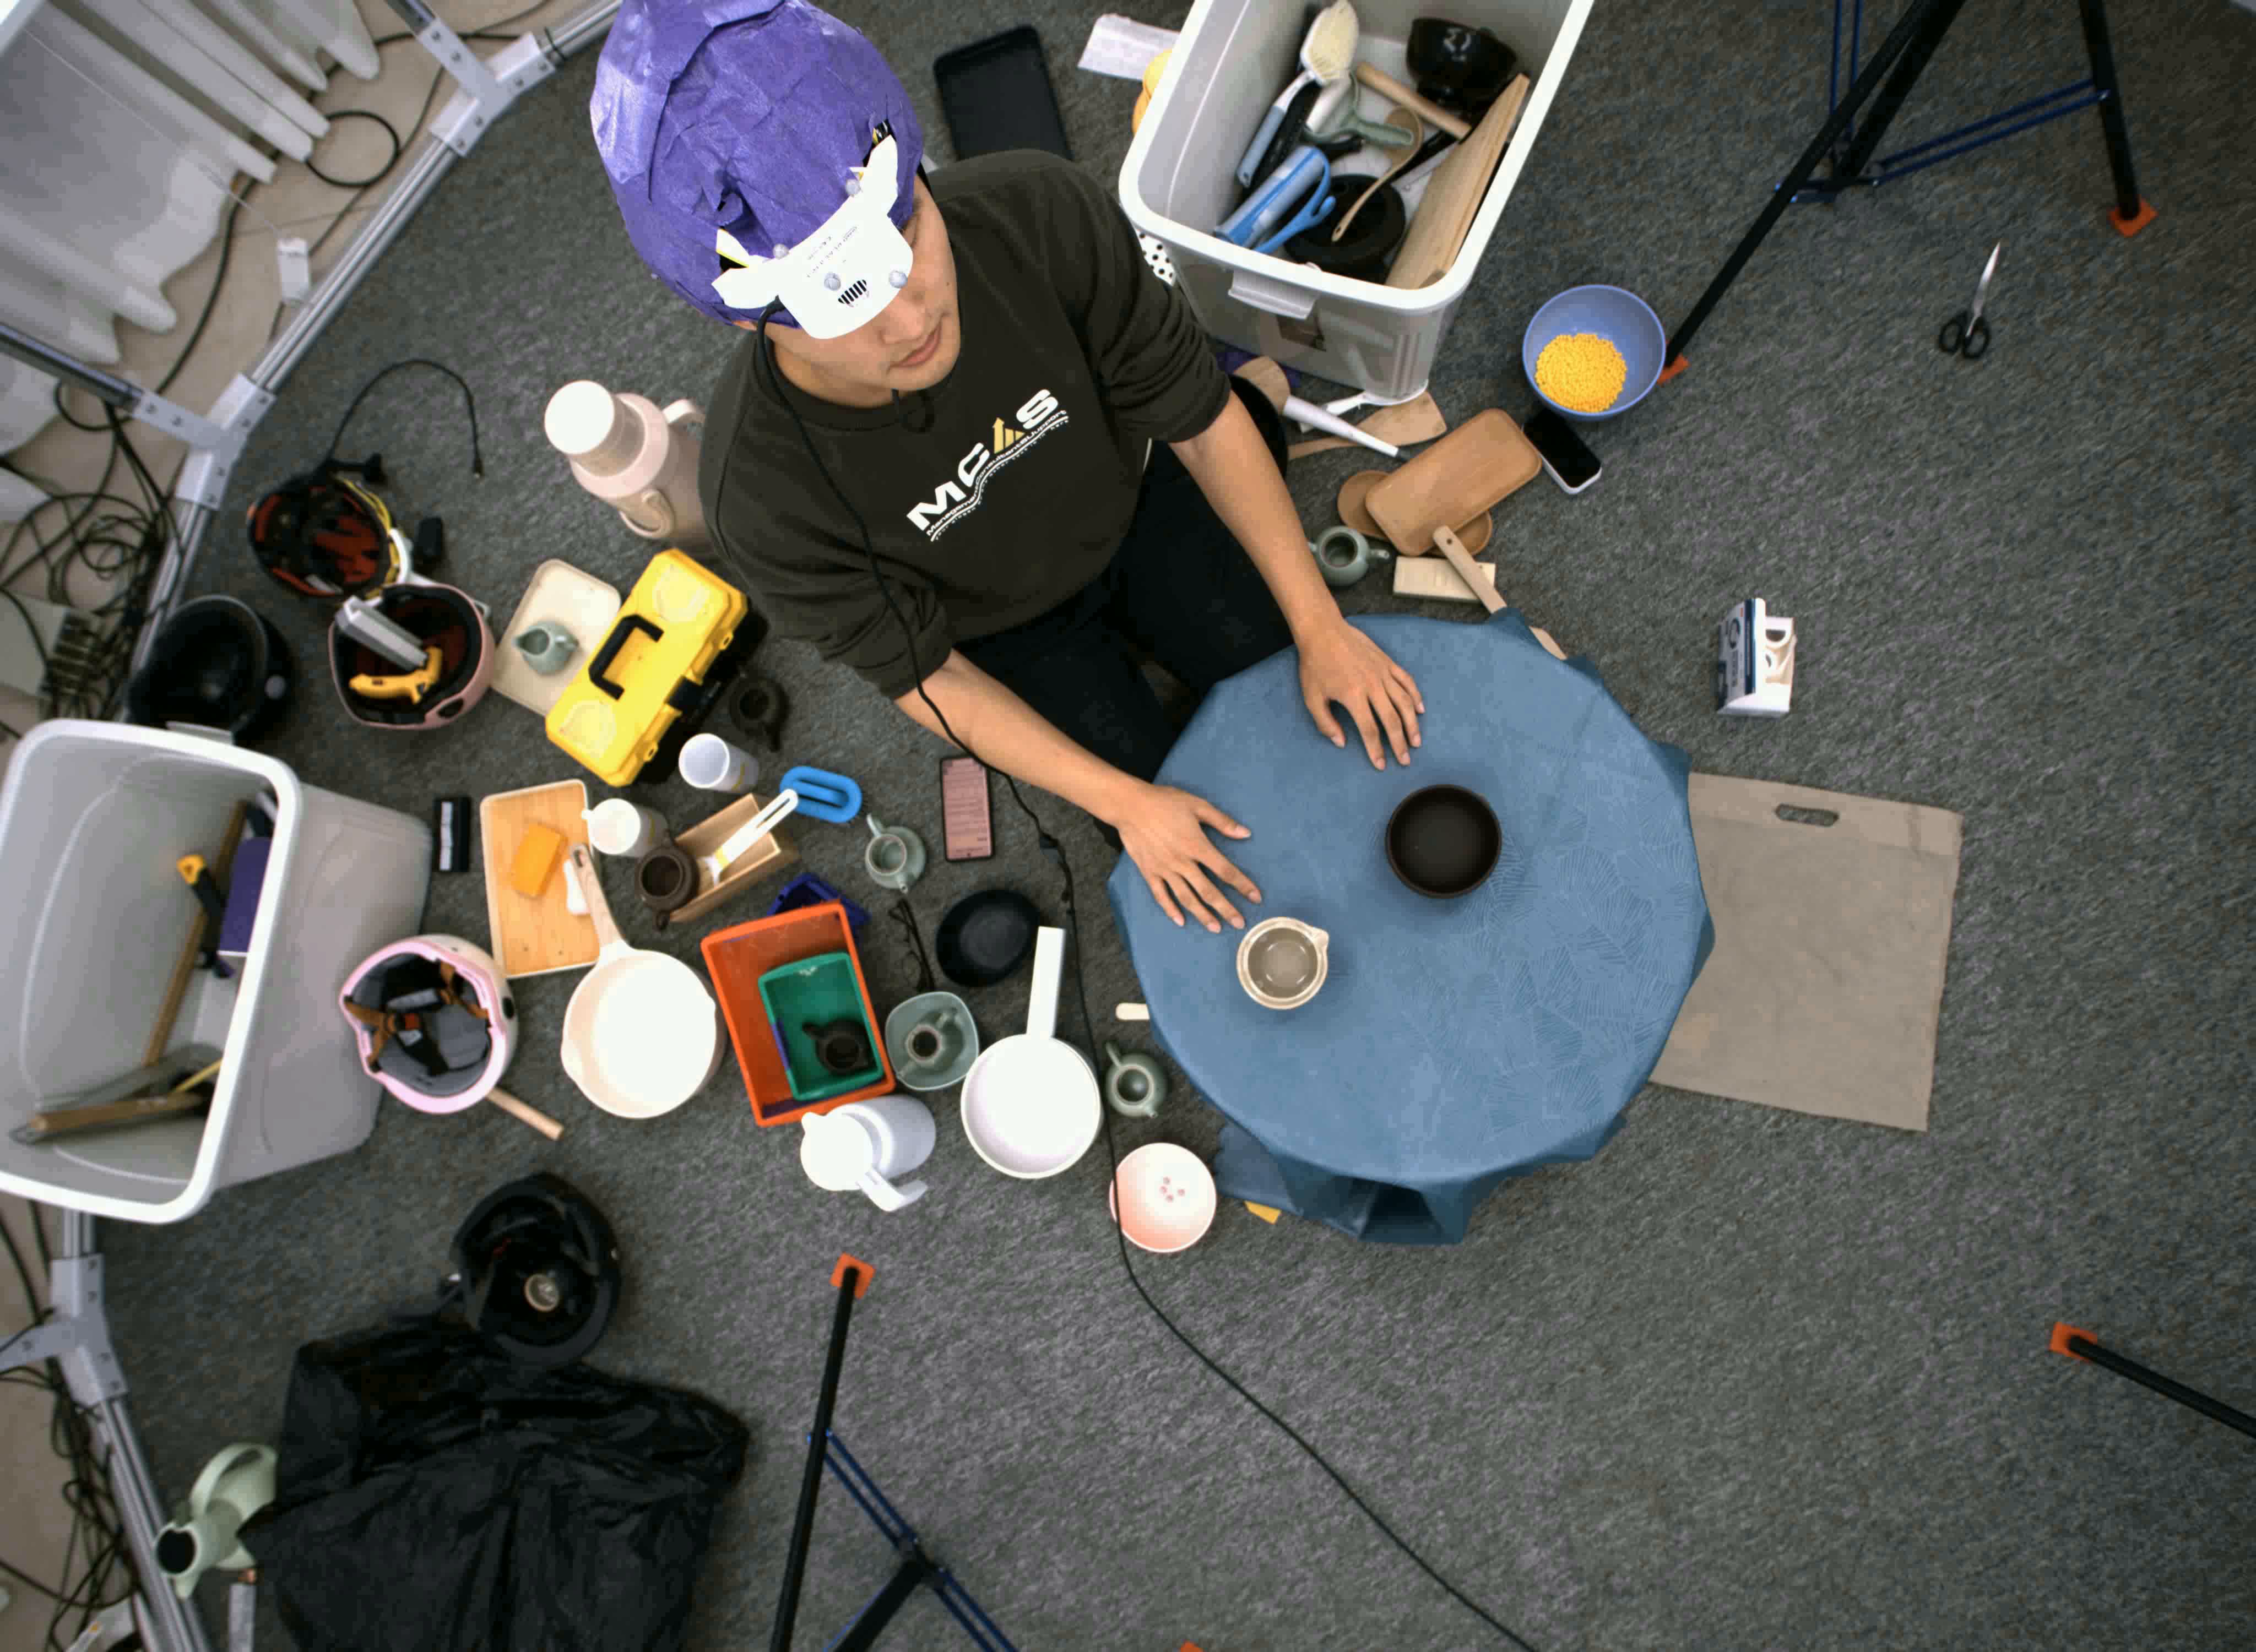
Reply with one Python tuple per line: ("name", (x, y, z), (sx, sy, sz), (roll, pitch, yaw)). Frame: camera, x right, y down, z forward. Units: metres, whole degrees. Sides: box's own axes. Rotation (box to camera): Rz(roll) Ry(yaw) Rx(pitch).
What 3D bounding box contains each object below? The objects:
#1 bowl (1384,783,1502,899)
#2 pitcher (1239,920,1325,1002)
("bowl", (0.323, 0.015, 1.416), (0.118, 0.070, 0.117), (-1, 87, 10))
("pitcher", (0.163, 0.138, 1.438), (0.096, 0.071, 0.083), (-28, 79, 8))
